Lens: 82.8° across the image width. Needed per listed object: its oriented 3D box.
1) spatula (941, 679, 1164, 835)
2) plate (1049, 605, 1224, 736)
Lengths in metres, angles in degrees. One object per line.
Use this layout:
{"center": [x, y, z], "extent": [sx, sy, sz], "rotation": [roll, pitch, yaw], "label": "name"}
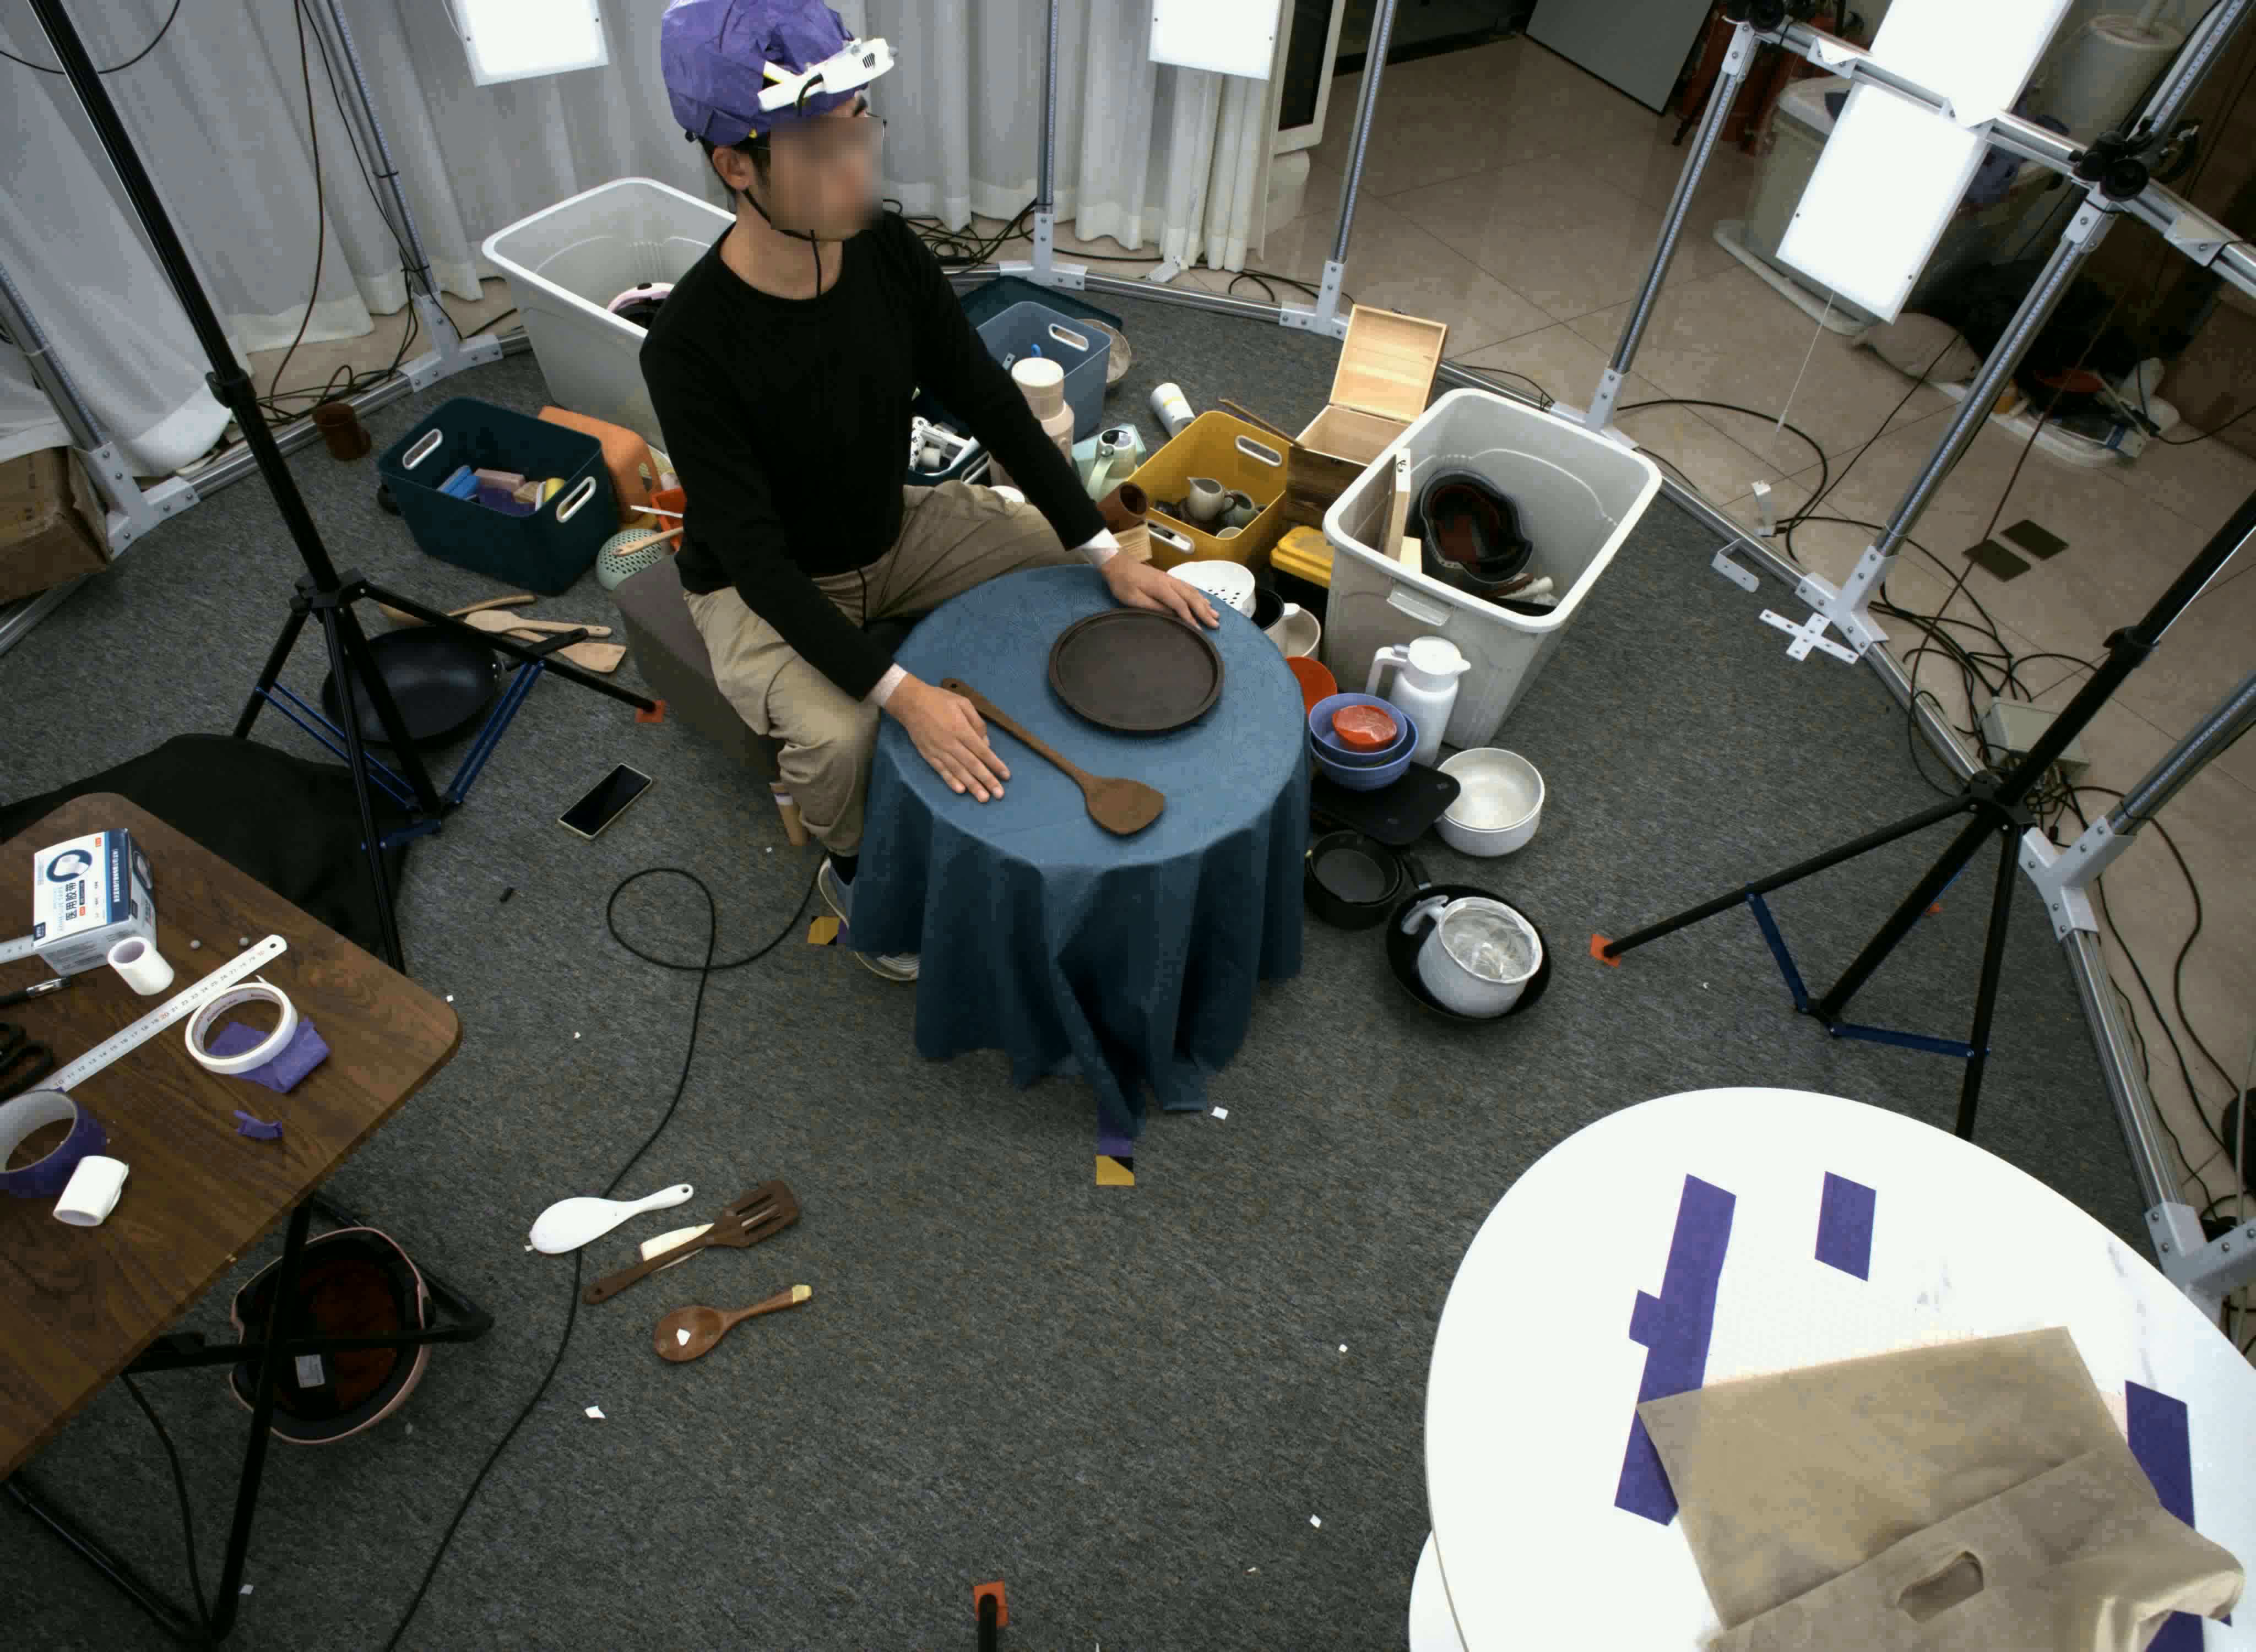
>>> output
{"center": [-0.117, -0.105, 1.744], "extent": [0.391, 0.015, 0.097], "rotation": [35, 55, 24], "label": "spatula"}
{"center": [0.012, -0.223, 1.848], "extent": [0.254, 0.028, 0.261], "rotation": [1, 50, -2], "label": "plate"}
